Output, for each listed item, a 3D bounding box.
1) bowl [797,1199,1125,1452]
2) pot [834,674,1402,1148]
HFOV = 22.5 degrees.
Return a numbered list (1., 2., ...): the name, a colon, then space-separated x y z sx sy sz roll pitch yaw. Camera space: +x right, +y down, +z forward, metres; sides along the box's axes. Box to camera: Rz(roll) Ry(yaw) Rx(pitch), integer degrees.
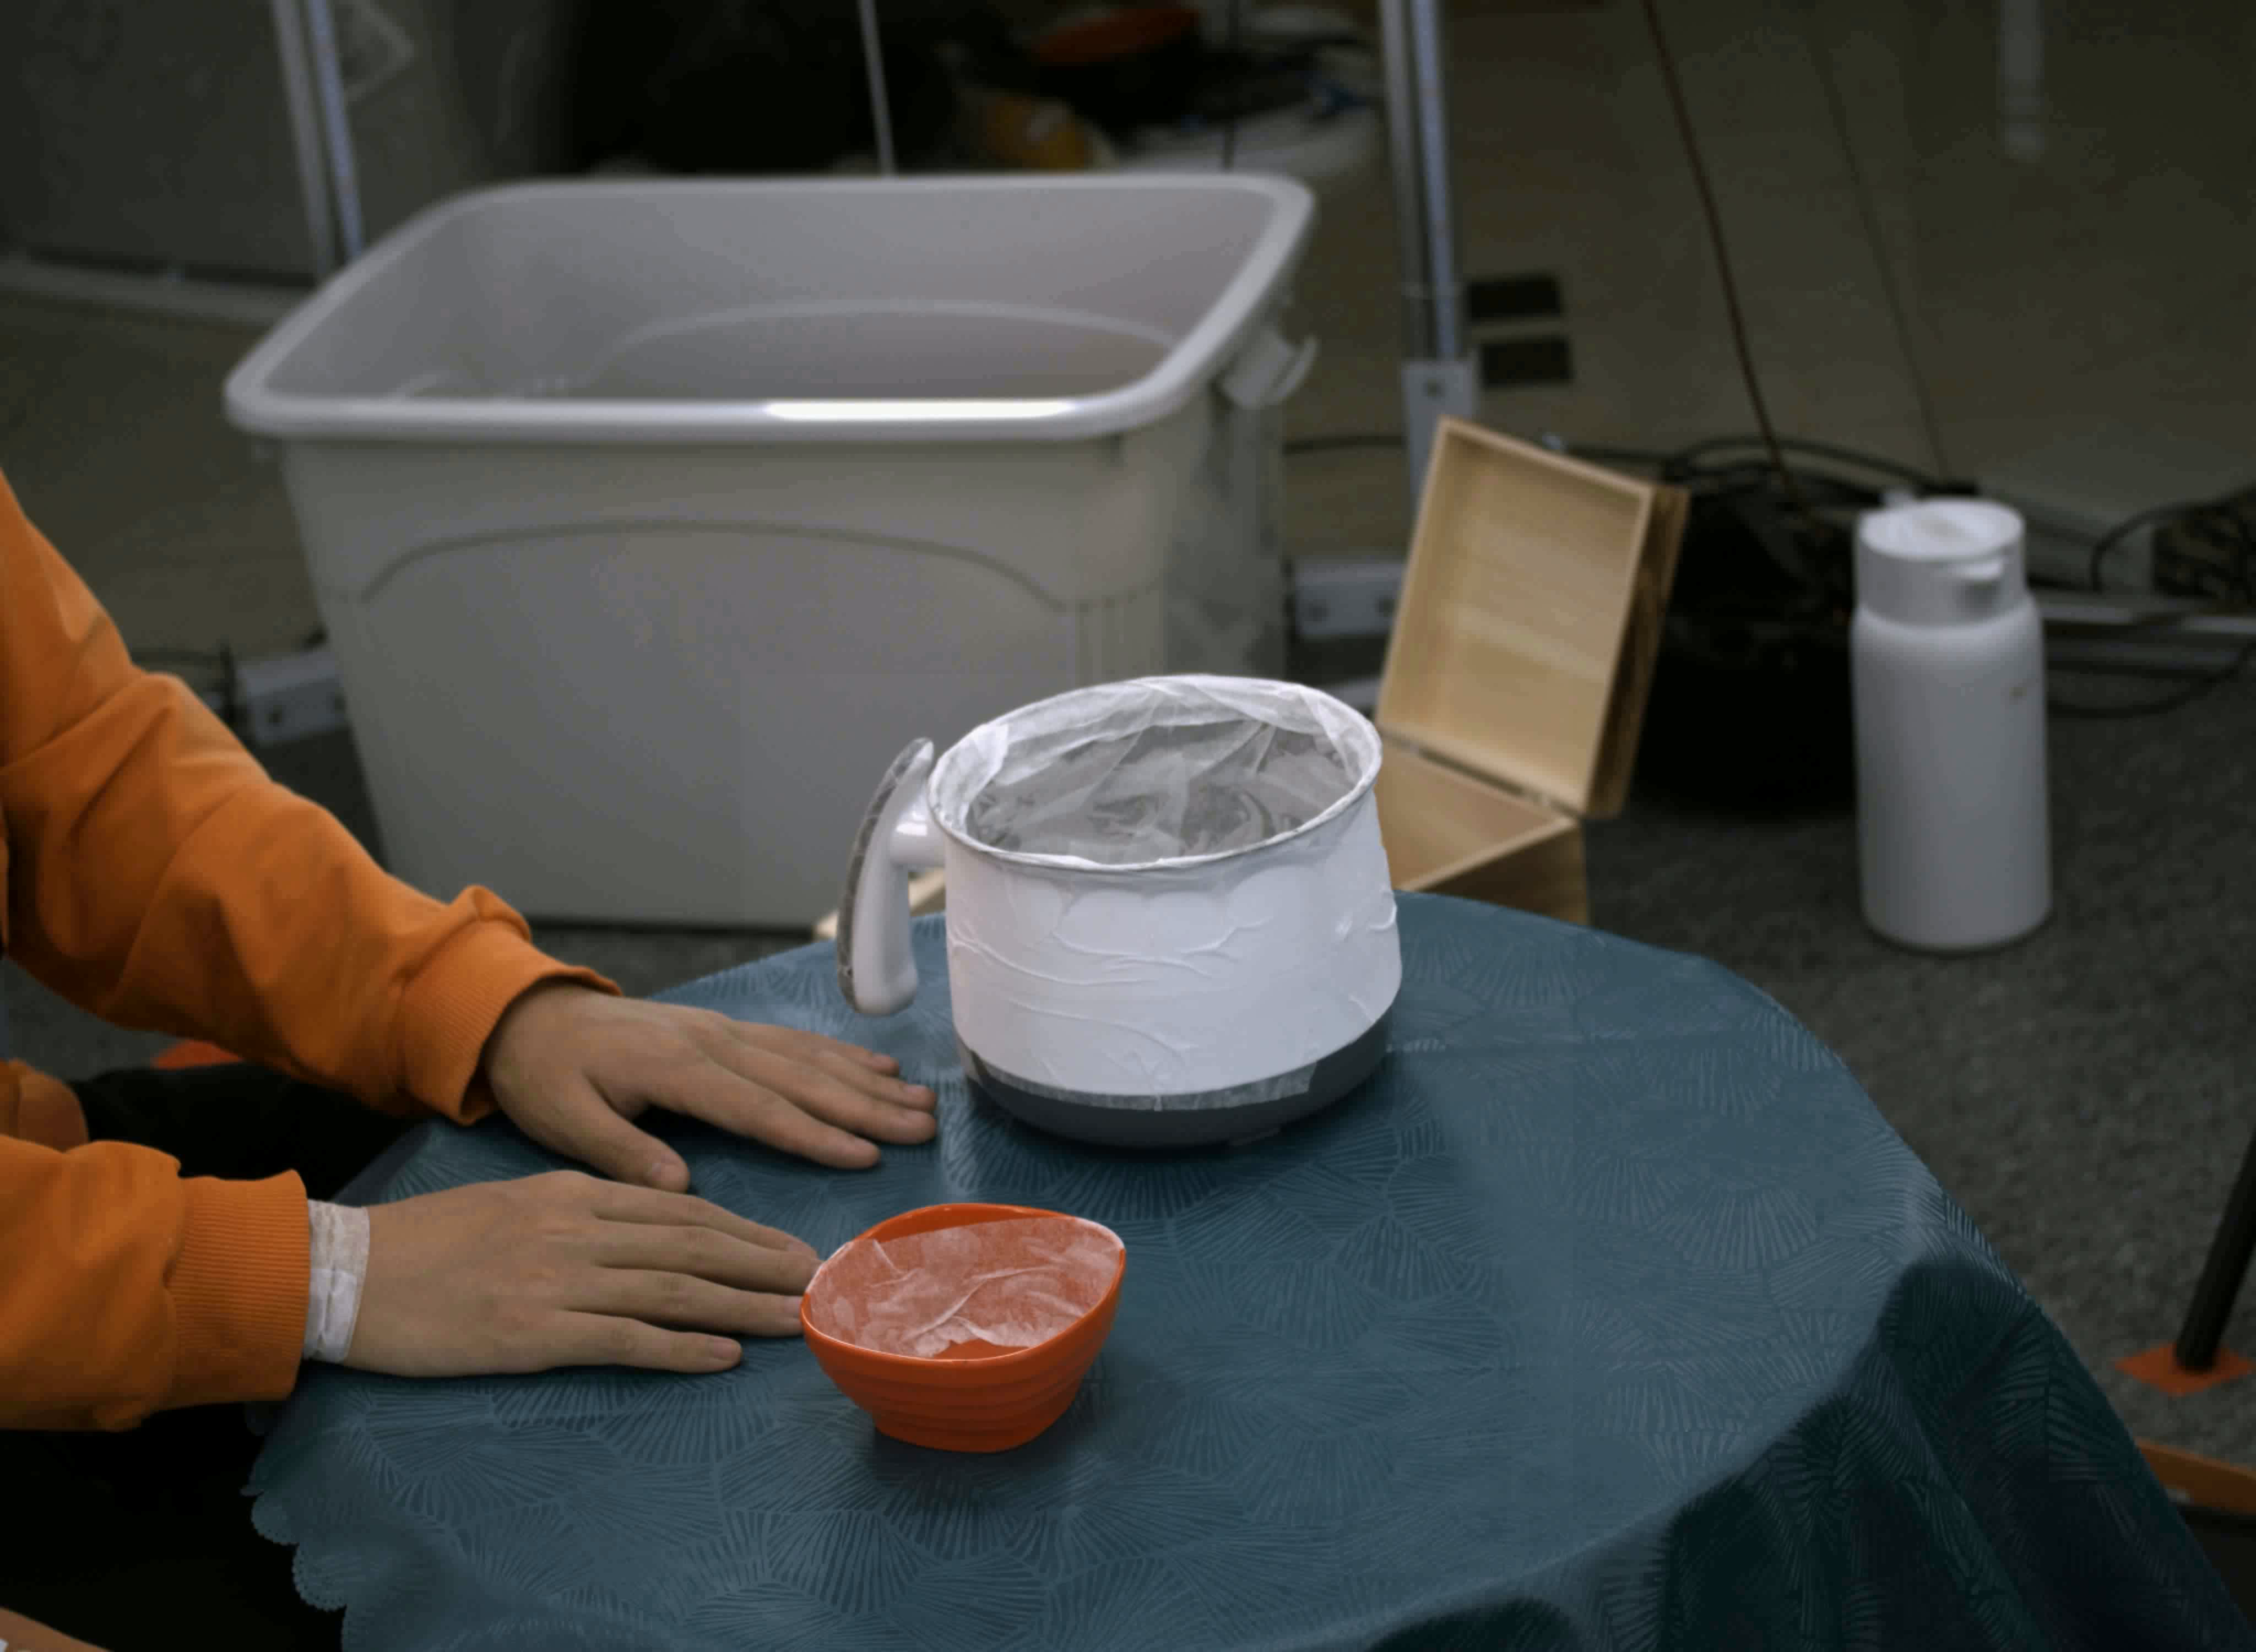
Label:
1. bowl: -0.057 0.181 2.008 0.119 0.052 0.117 -4 27 2
2. pot: -0.009 0.033 2.211 0.233 0.139 0.176 4 27 21
